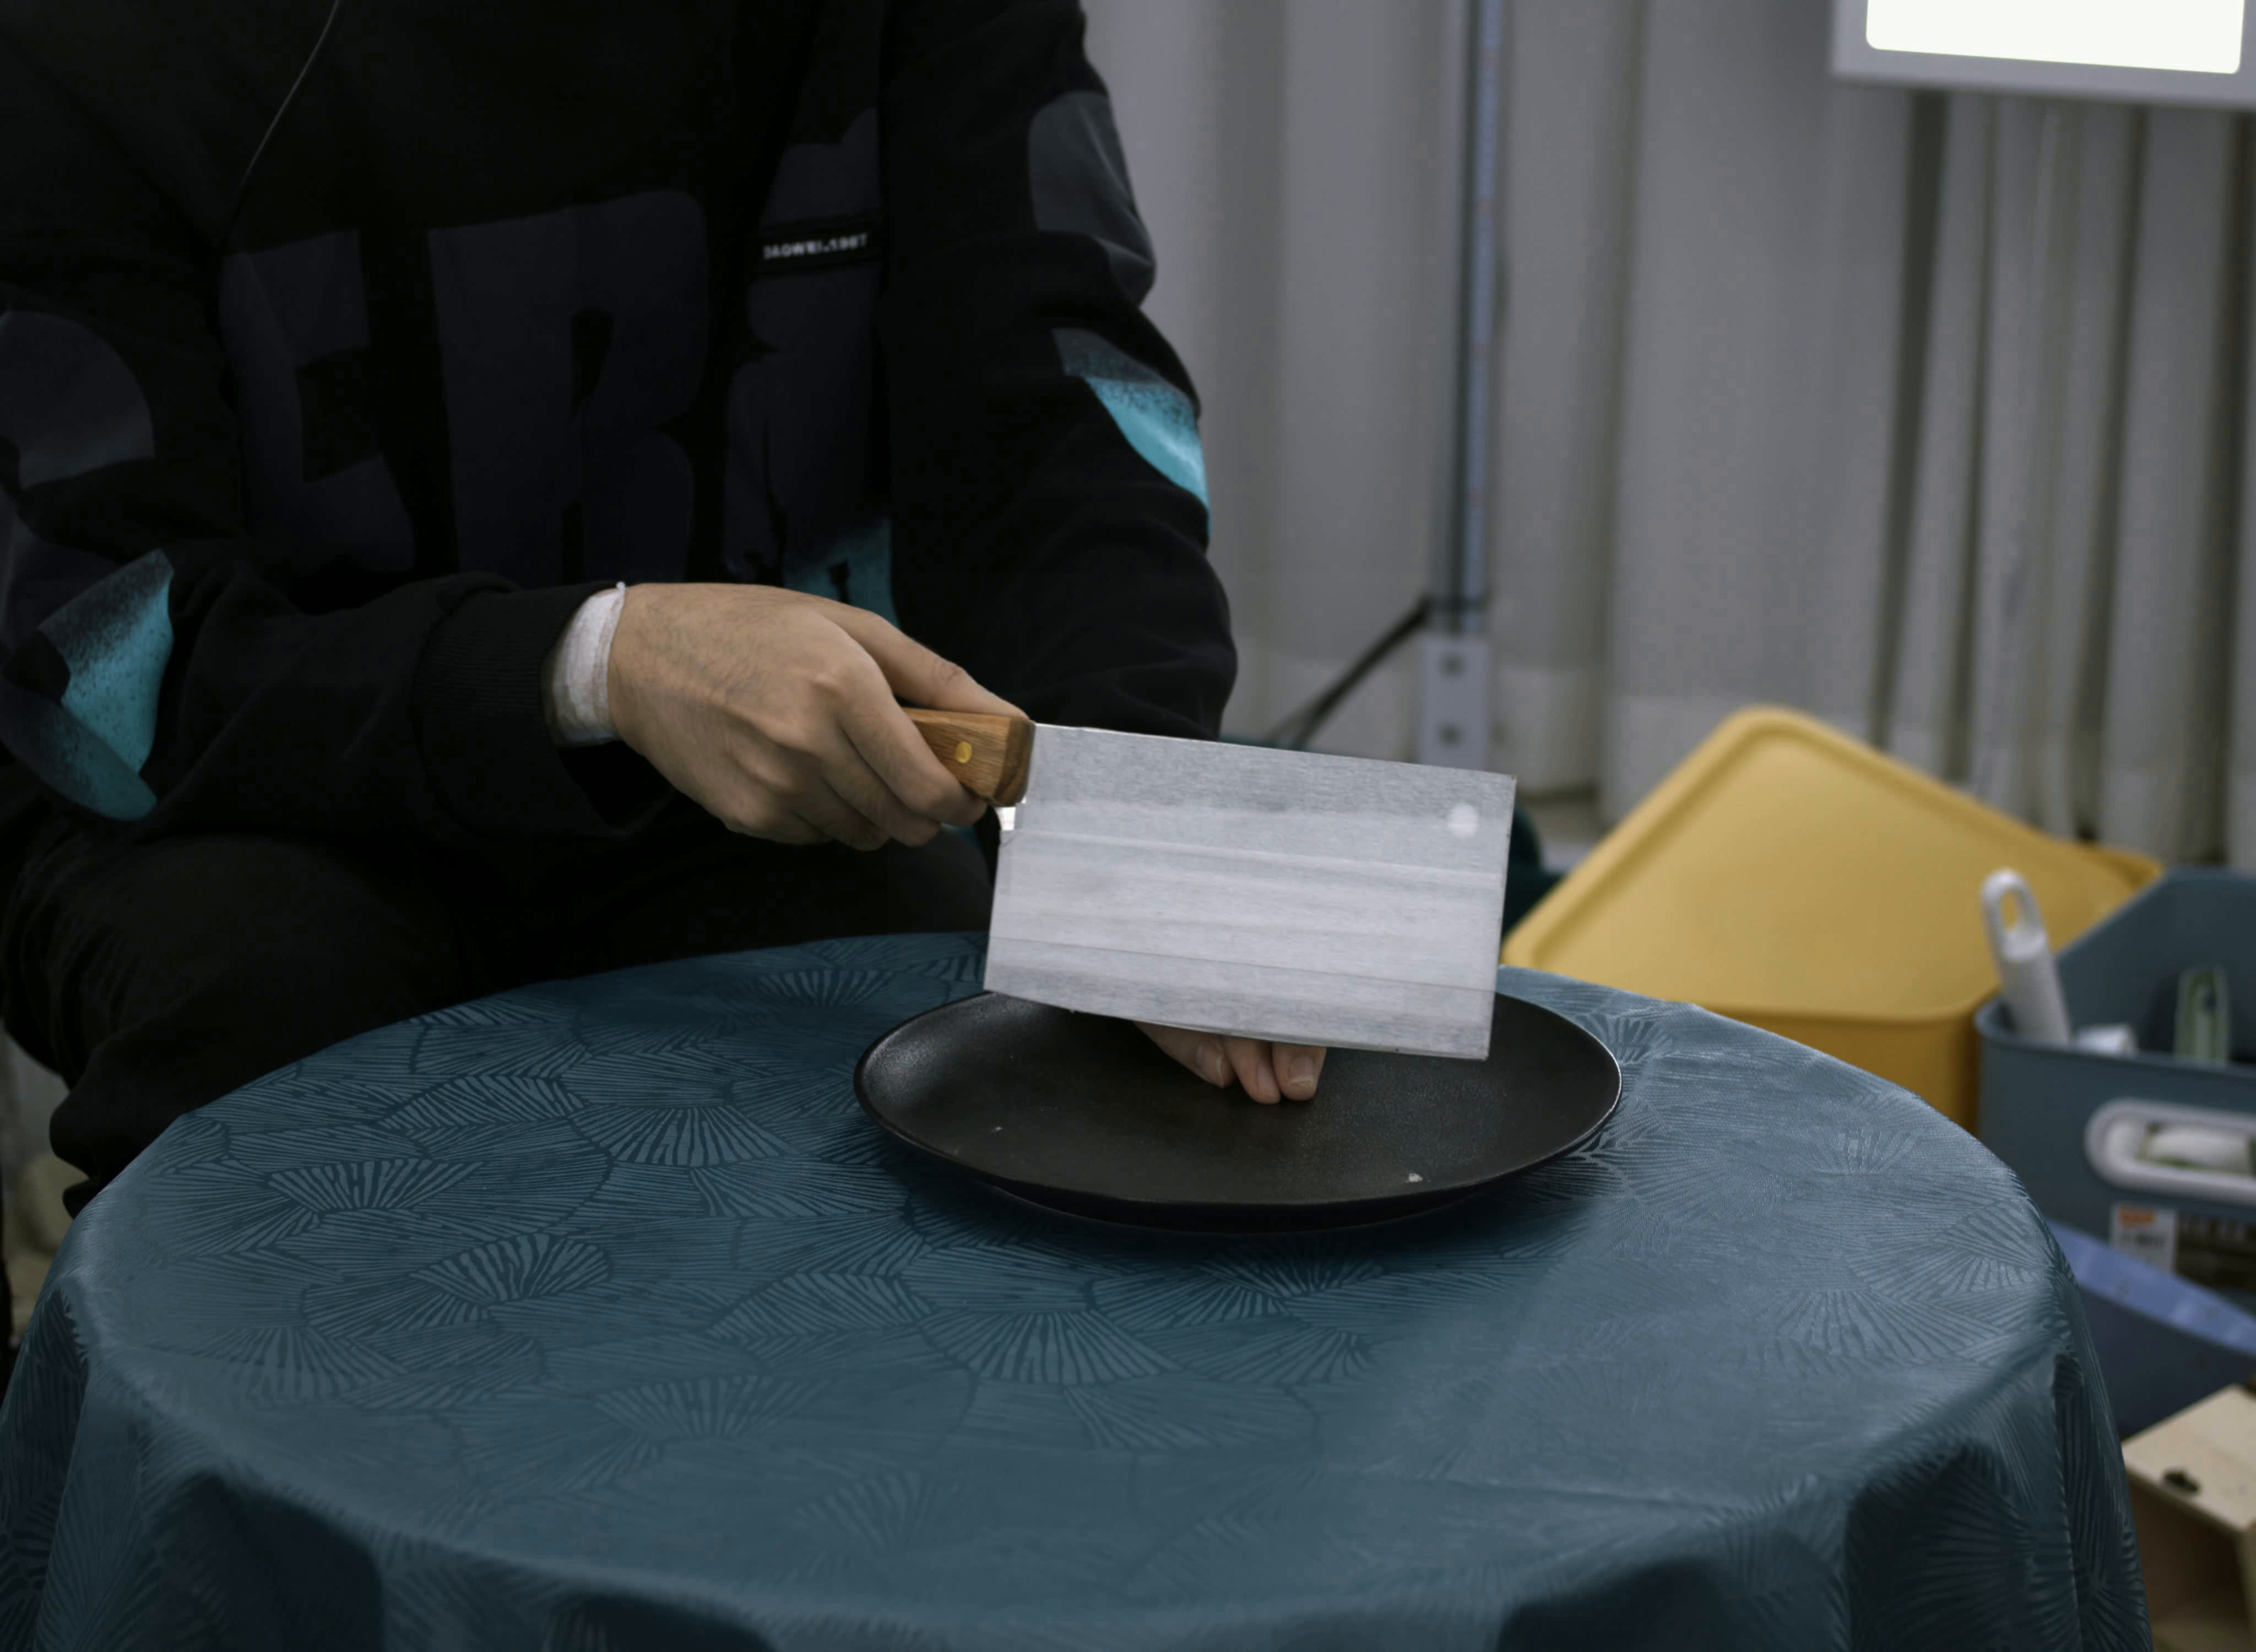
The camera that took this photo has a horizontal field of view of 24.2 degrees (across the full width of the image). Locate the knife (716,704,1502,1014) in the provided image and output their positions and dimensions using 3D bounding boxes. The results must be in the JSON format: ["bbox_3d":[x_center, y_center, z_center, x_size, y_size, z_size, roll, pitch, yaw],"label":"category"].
[{"bbox_3d":[-0.013,0.011,1.694,0.302,0.093,0.021,7,3,33],"label":"knife"}]

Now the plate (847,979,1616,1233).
[{"bbox_3d":[0.033,0.088,1.666,0.243,0.023,0.243,0,16,0],"label":"plate"}]
